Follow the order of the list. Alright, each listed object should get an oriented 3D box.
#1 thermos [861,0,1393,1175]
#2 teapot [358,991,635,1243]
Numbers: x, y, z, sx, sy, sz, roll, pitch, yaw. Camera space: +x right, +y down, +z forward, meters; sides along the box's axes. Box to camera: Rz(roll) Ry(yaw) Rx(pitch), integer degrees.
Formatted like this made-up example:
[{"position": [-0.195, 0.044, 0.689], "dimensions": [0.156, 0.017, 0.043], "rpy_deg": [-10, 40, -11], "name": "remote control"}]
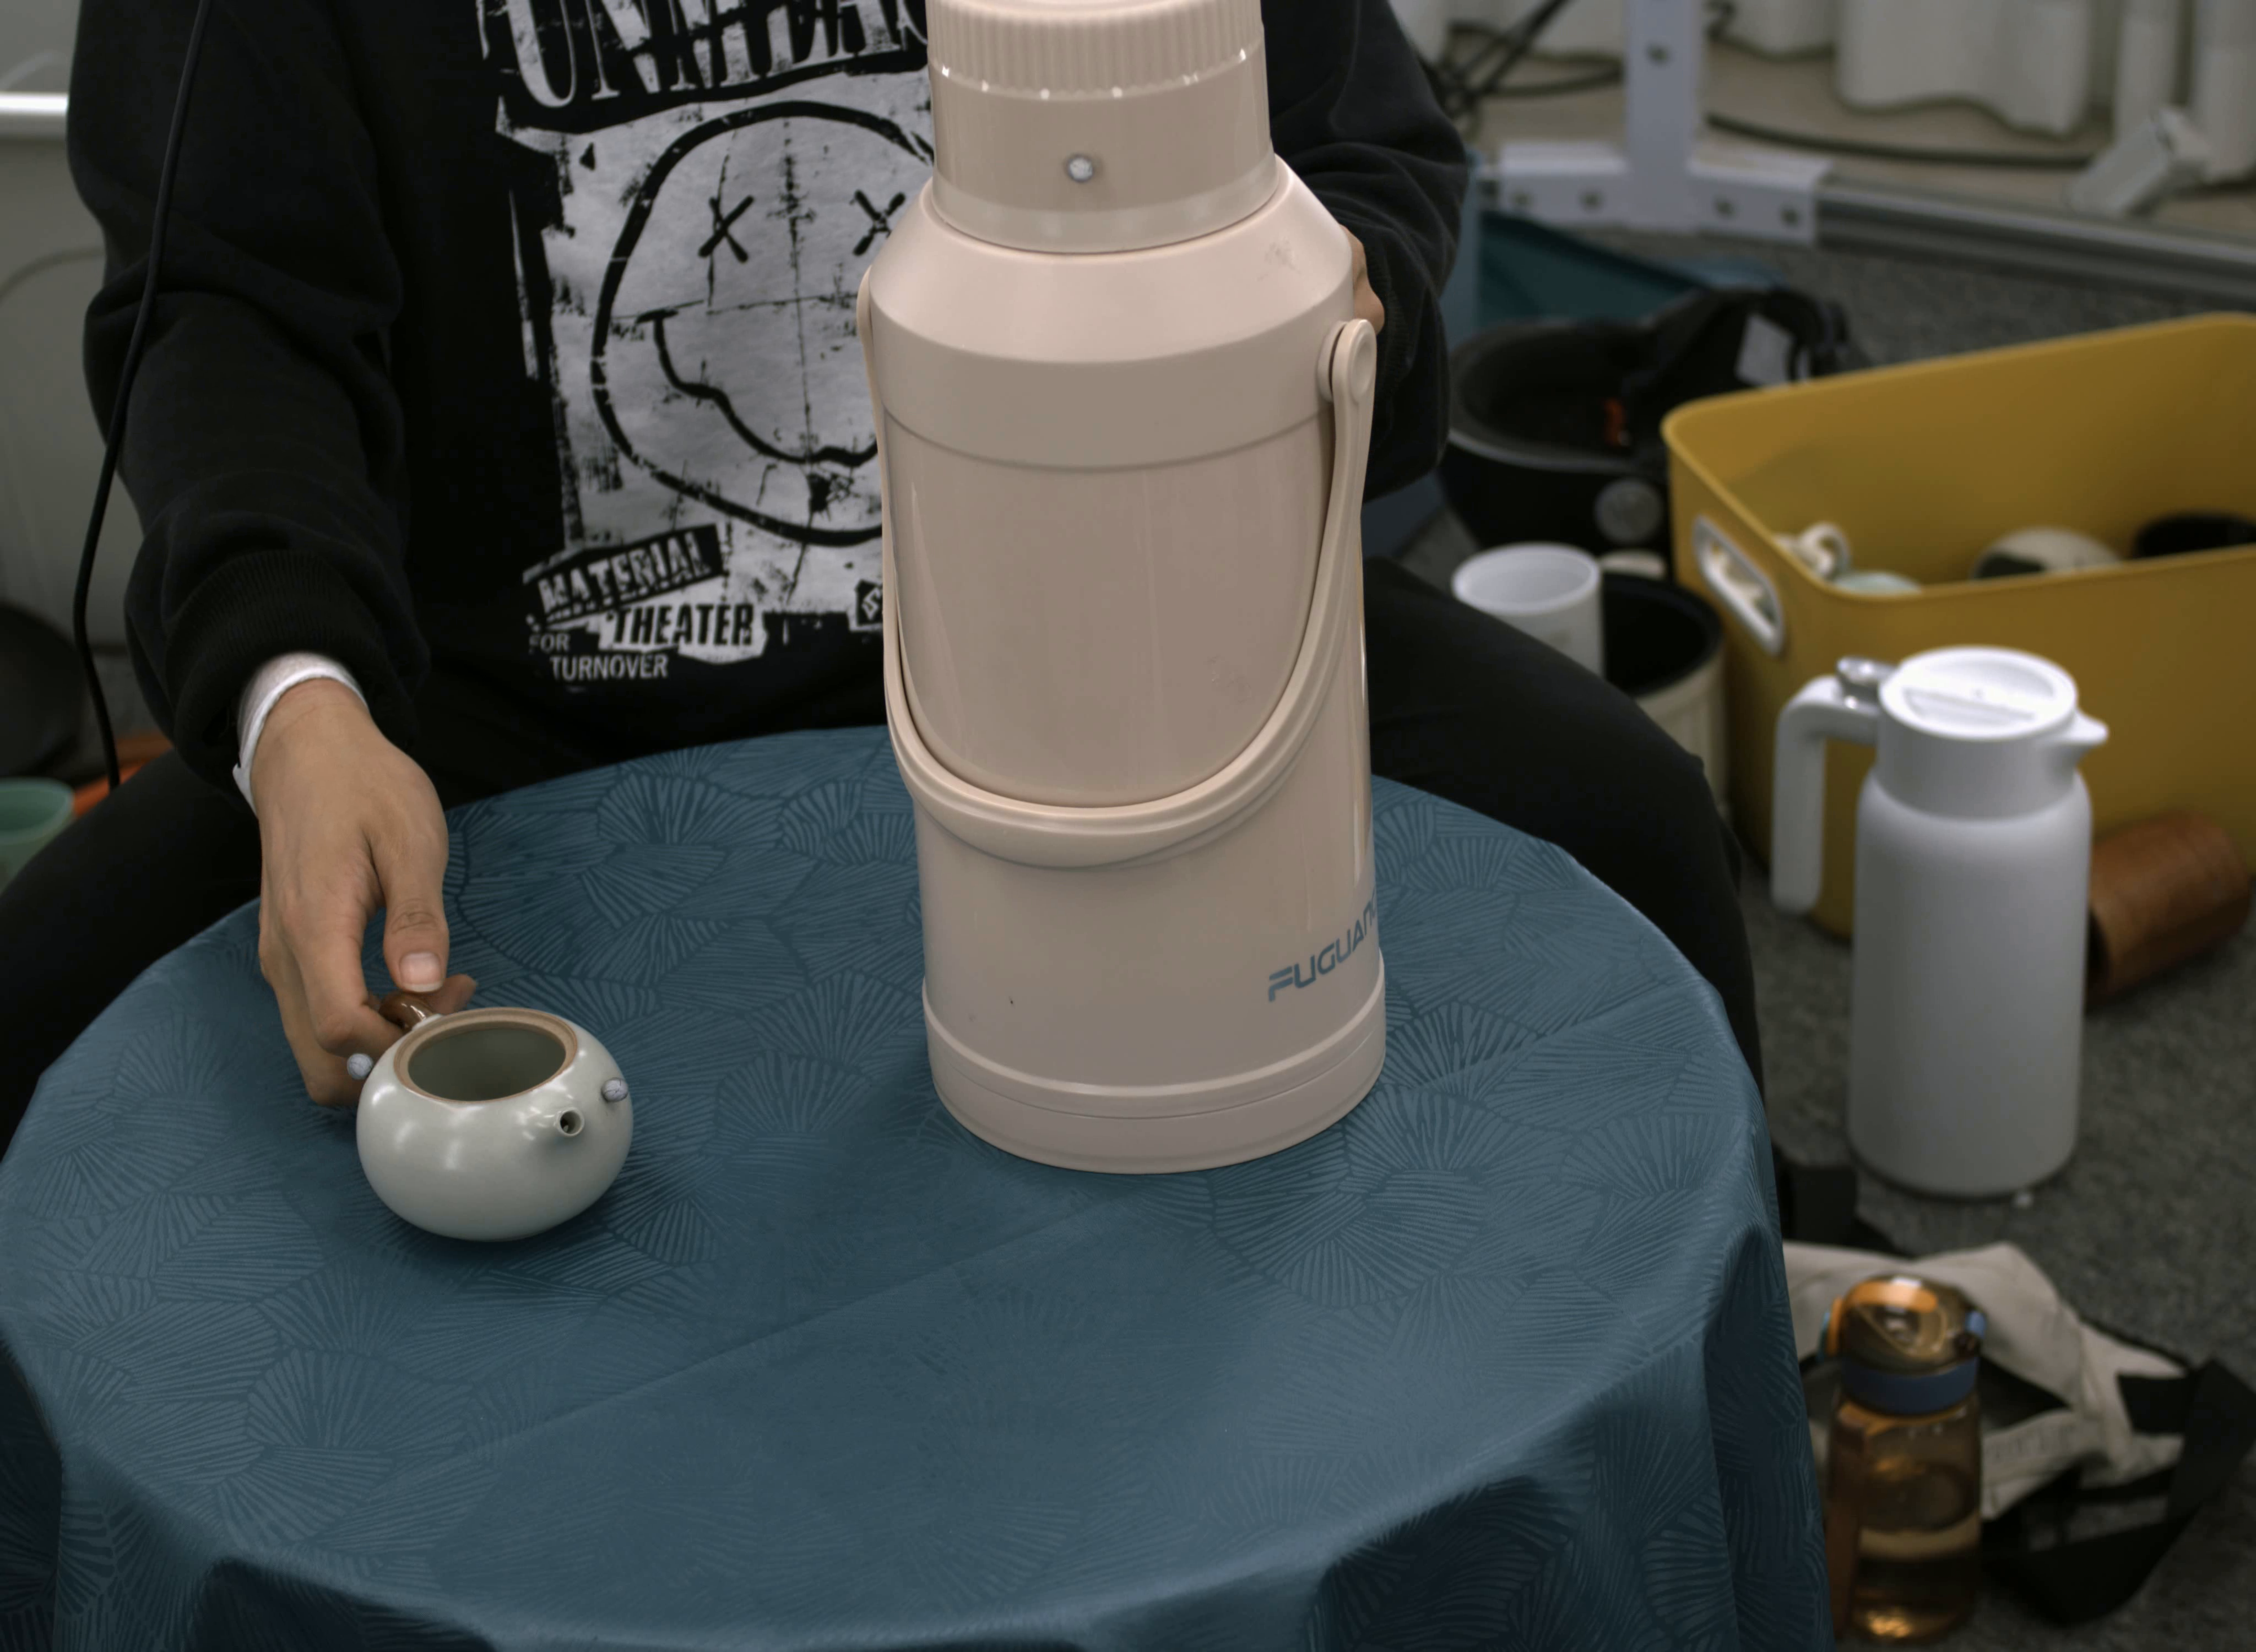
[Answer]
[{"position": [0.008, -0.101, 1.864], "dimensions": [0.174, 0.402, 0.210], "rpy_deg": [7, 28, 23], "name": "thermos"}, {"position": [-0.215, 0.096, 1.866], "dimensions": [0.093, 0.059, 0.128], "rpy_deg": [-26, 36, -32], "name": "teapot"}]
